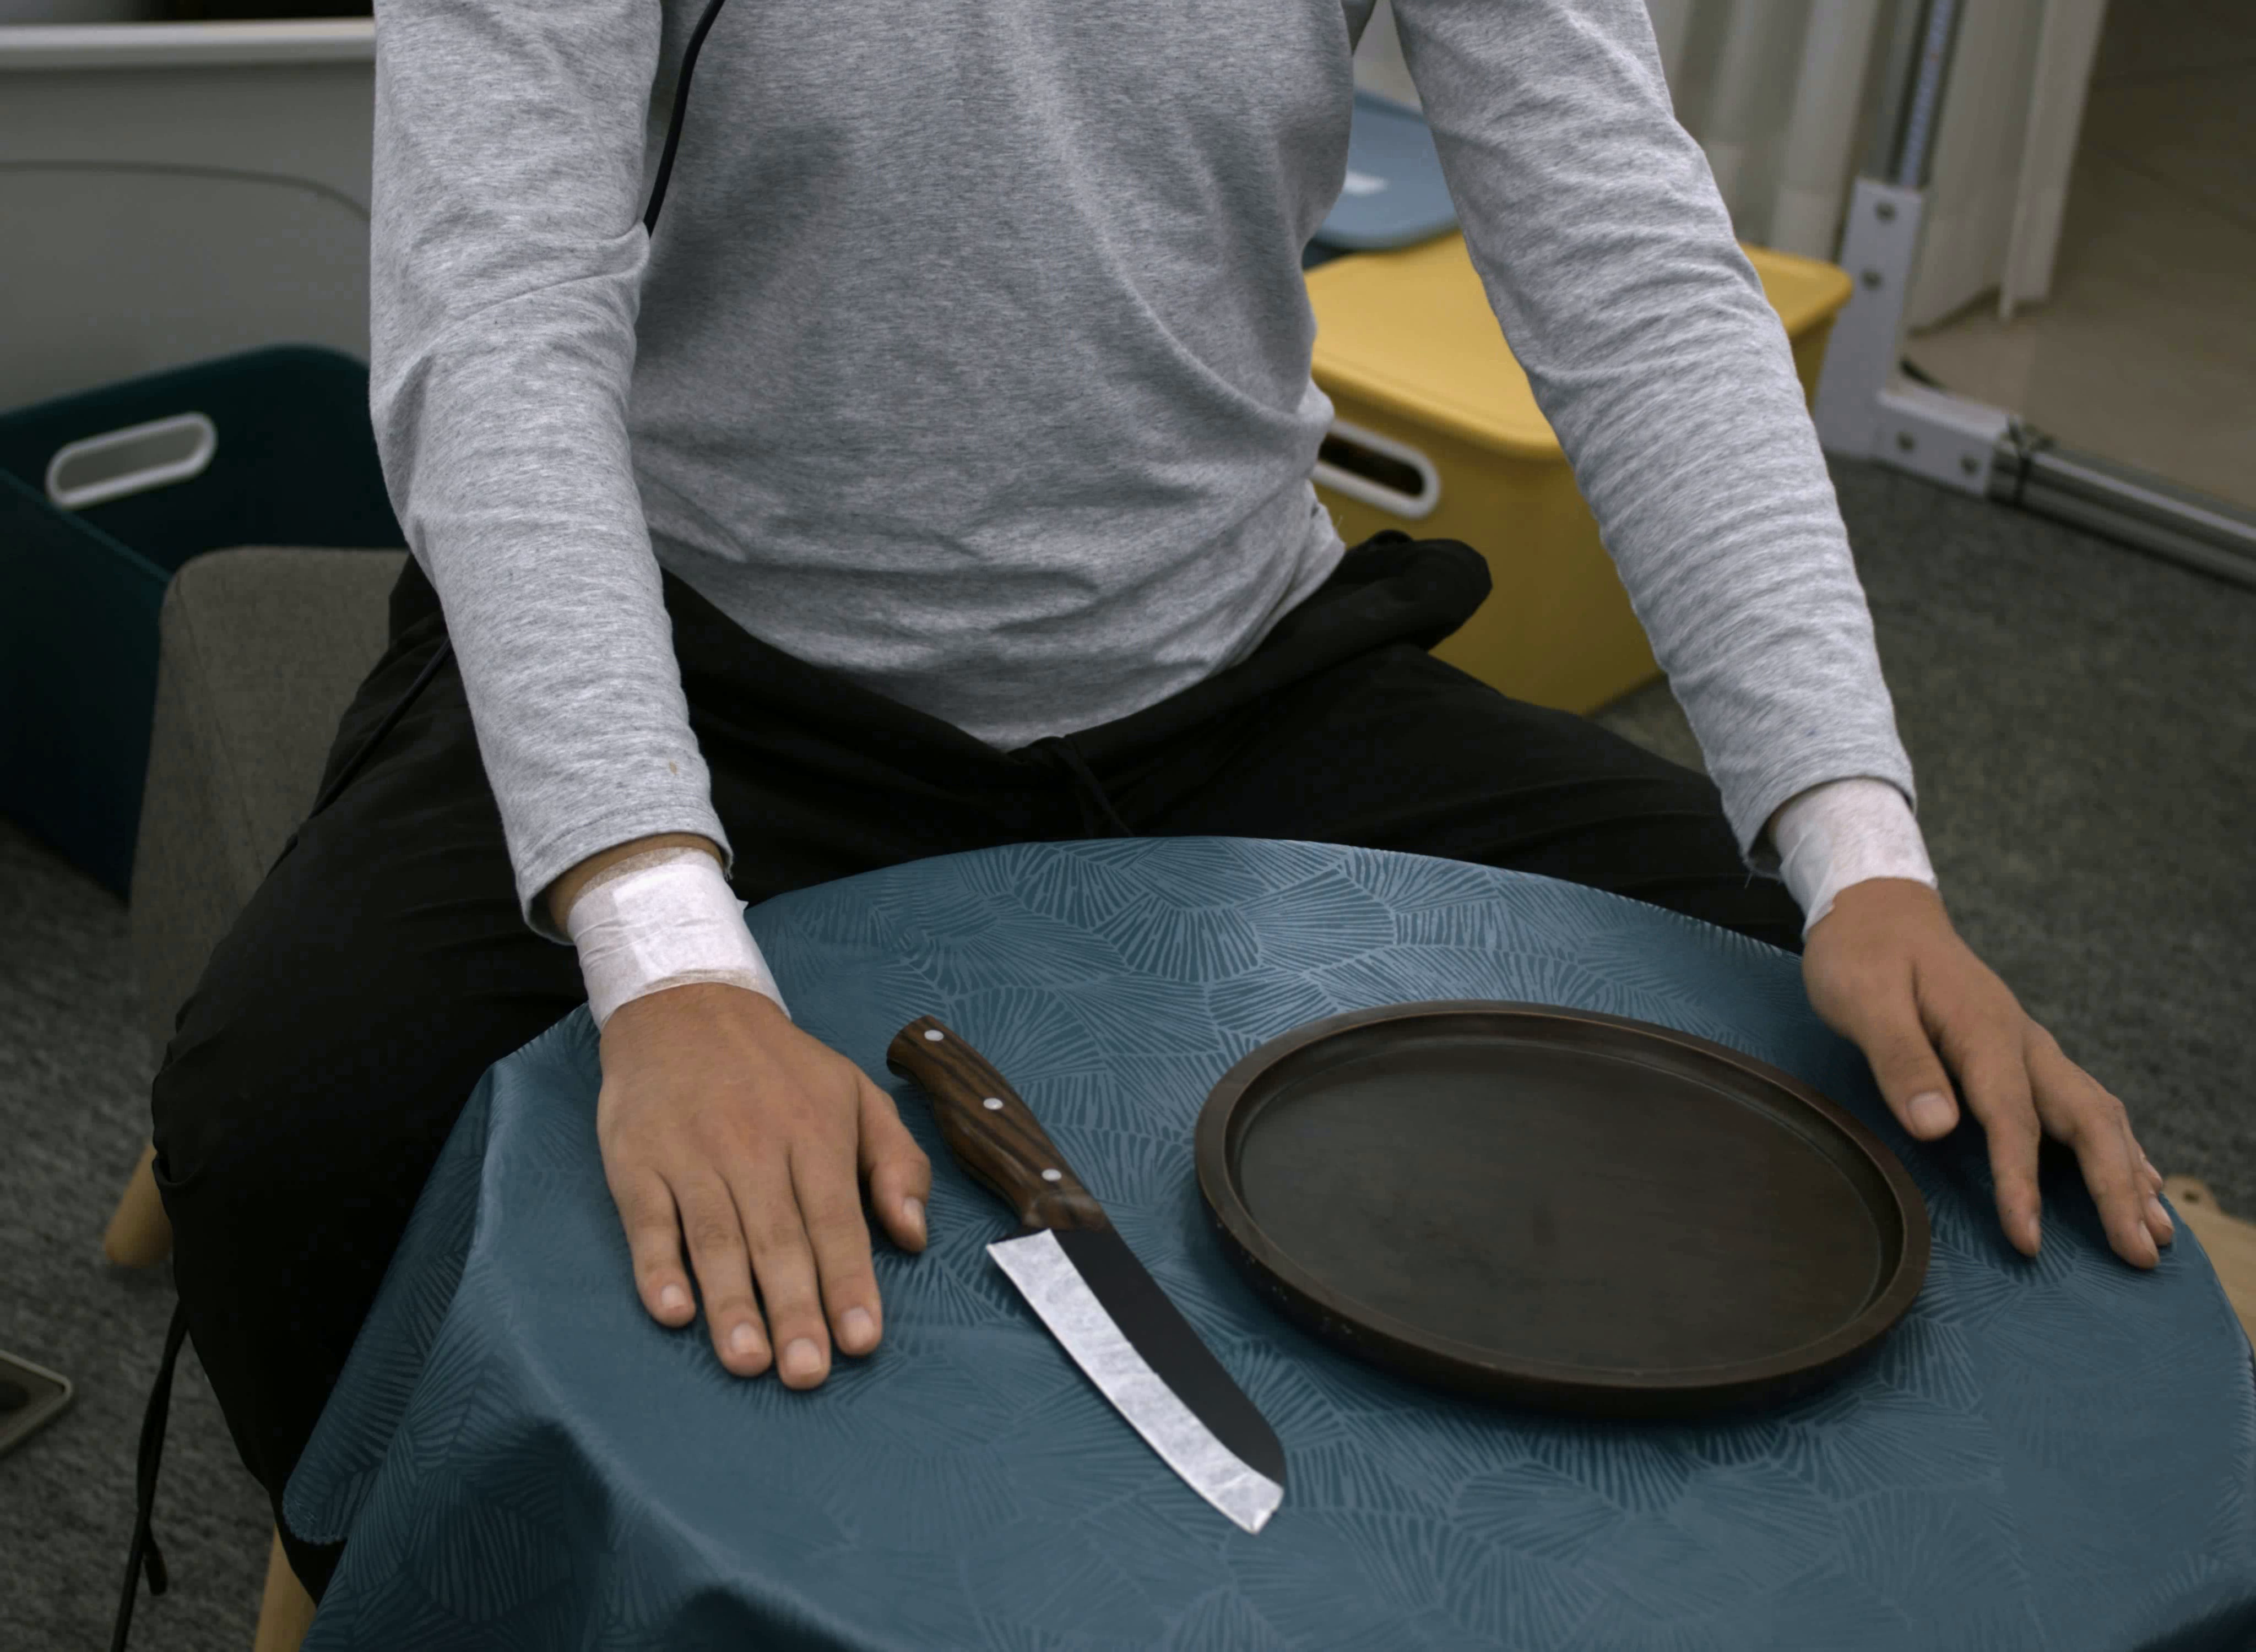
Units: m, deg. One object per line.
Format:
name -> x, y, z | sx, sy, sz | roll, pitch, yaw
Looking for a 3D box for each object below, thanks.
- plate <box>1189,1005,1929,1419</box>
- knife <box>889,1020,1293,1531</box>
plate -> 0.145, 0.128, 1.802 | 0.254, 0.029, 0.256 | 3, 26, -2
knife -> -0.016, 0.145, 1.743 | 0.050, 0.020, 0.292 | -11, 34, -21
